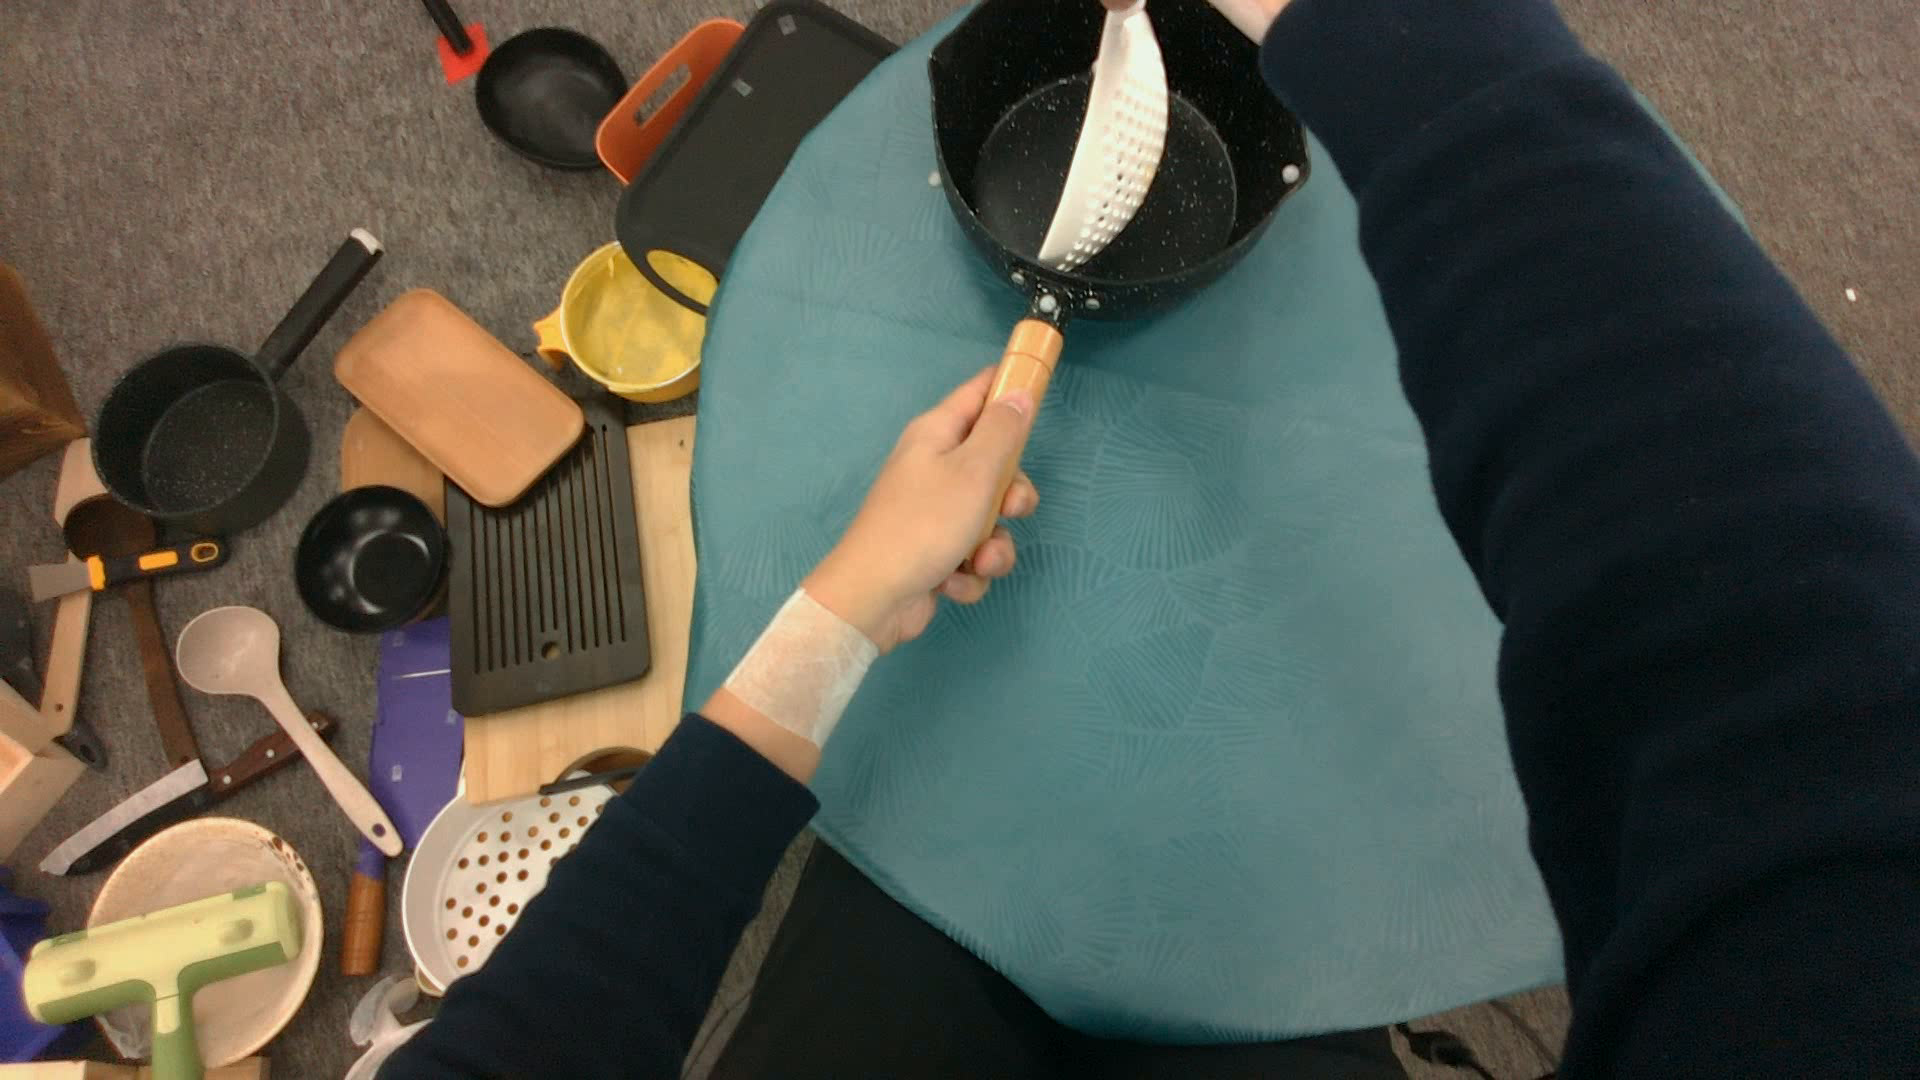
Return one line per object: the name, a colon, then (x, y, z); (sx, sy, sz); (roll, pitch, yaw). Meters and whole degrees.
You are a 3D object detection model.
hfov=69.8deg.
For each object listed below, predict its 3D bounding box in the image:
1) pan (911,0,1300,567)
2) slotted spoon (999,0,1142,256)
pan: (0.049, -0.133, 0.702); (0.207, 0.108, 0.343); (18, 75, 4)
slotted spoon: (0.062, -0.210, 0.591); (0.050, 0.347, 0.137); (24, 84, 5)
